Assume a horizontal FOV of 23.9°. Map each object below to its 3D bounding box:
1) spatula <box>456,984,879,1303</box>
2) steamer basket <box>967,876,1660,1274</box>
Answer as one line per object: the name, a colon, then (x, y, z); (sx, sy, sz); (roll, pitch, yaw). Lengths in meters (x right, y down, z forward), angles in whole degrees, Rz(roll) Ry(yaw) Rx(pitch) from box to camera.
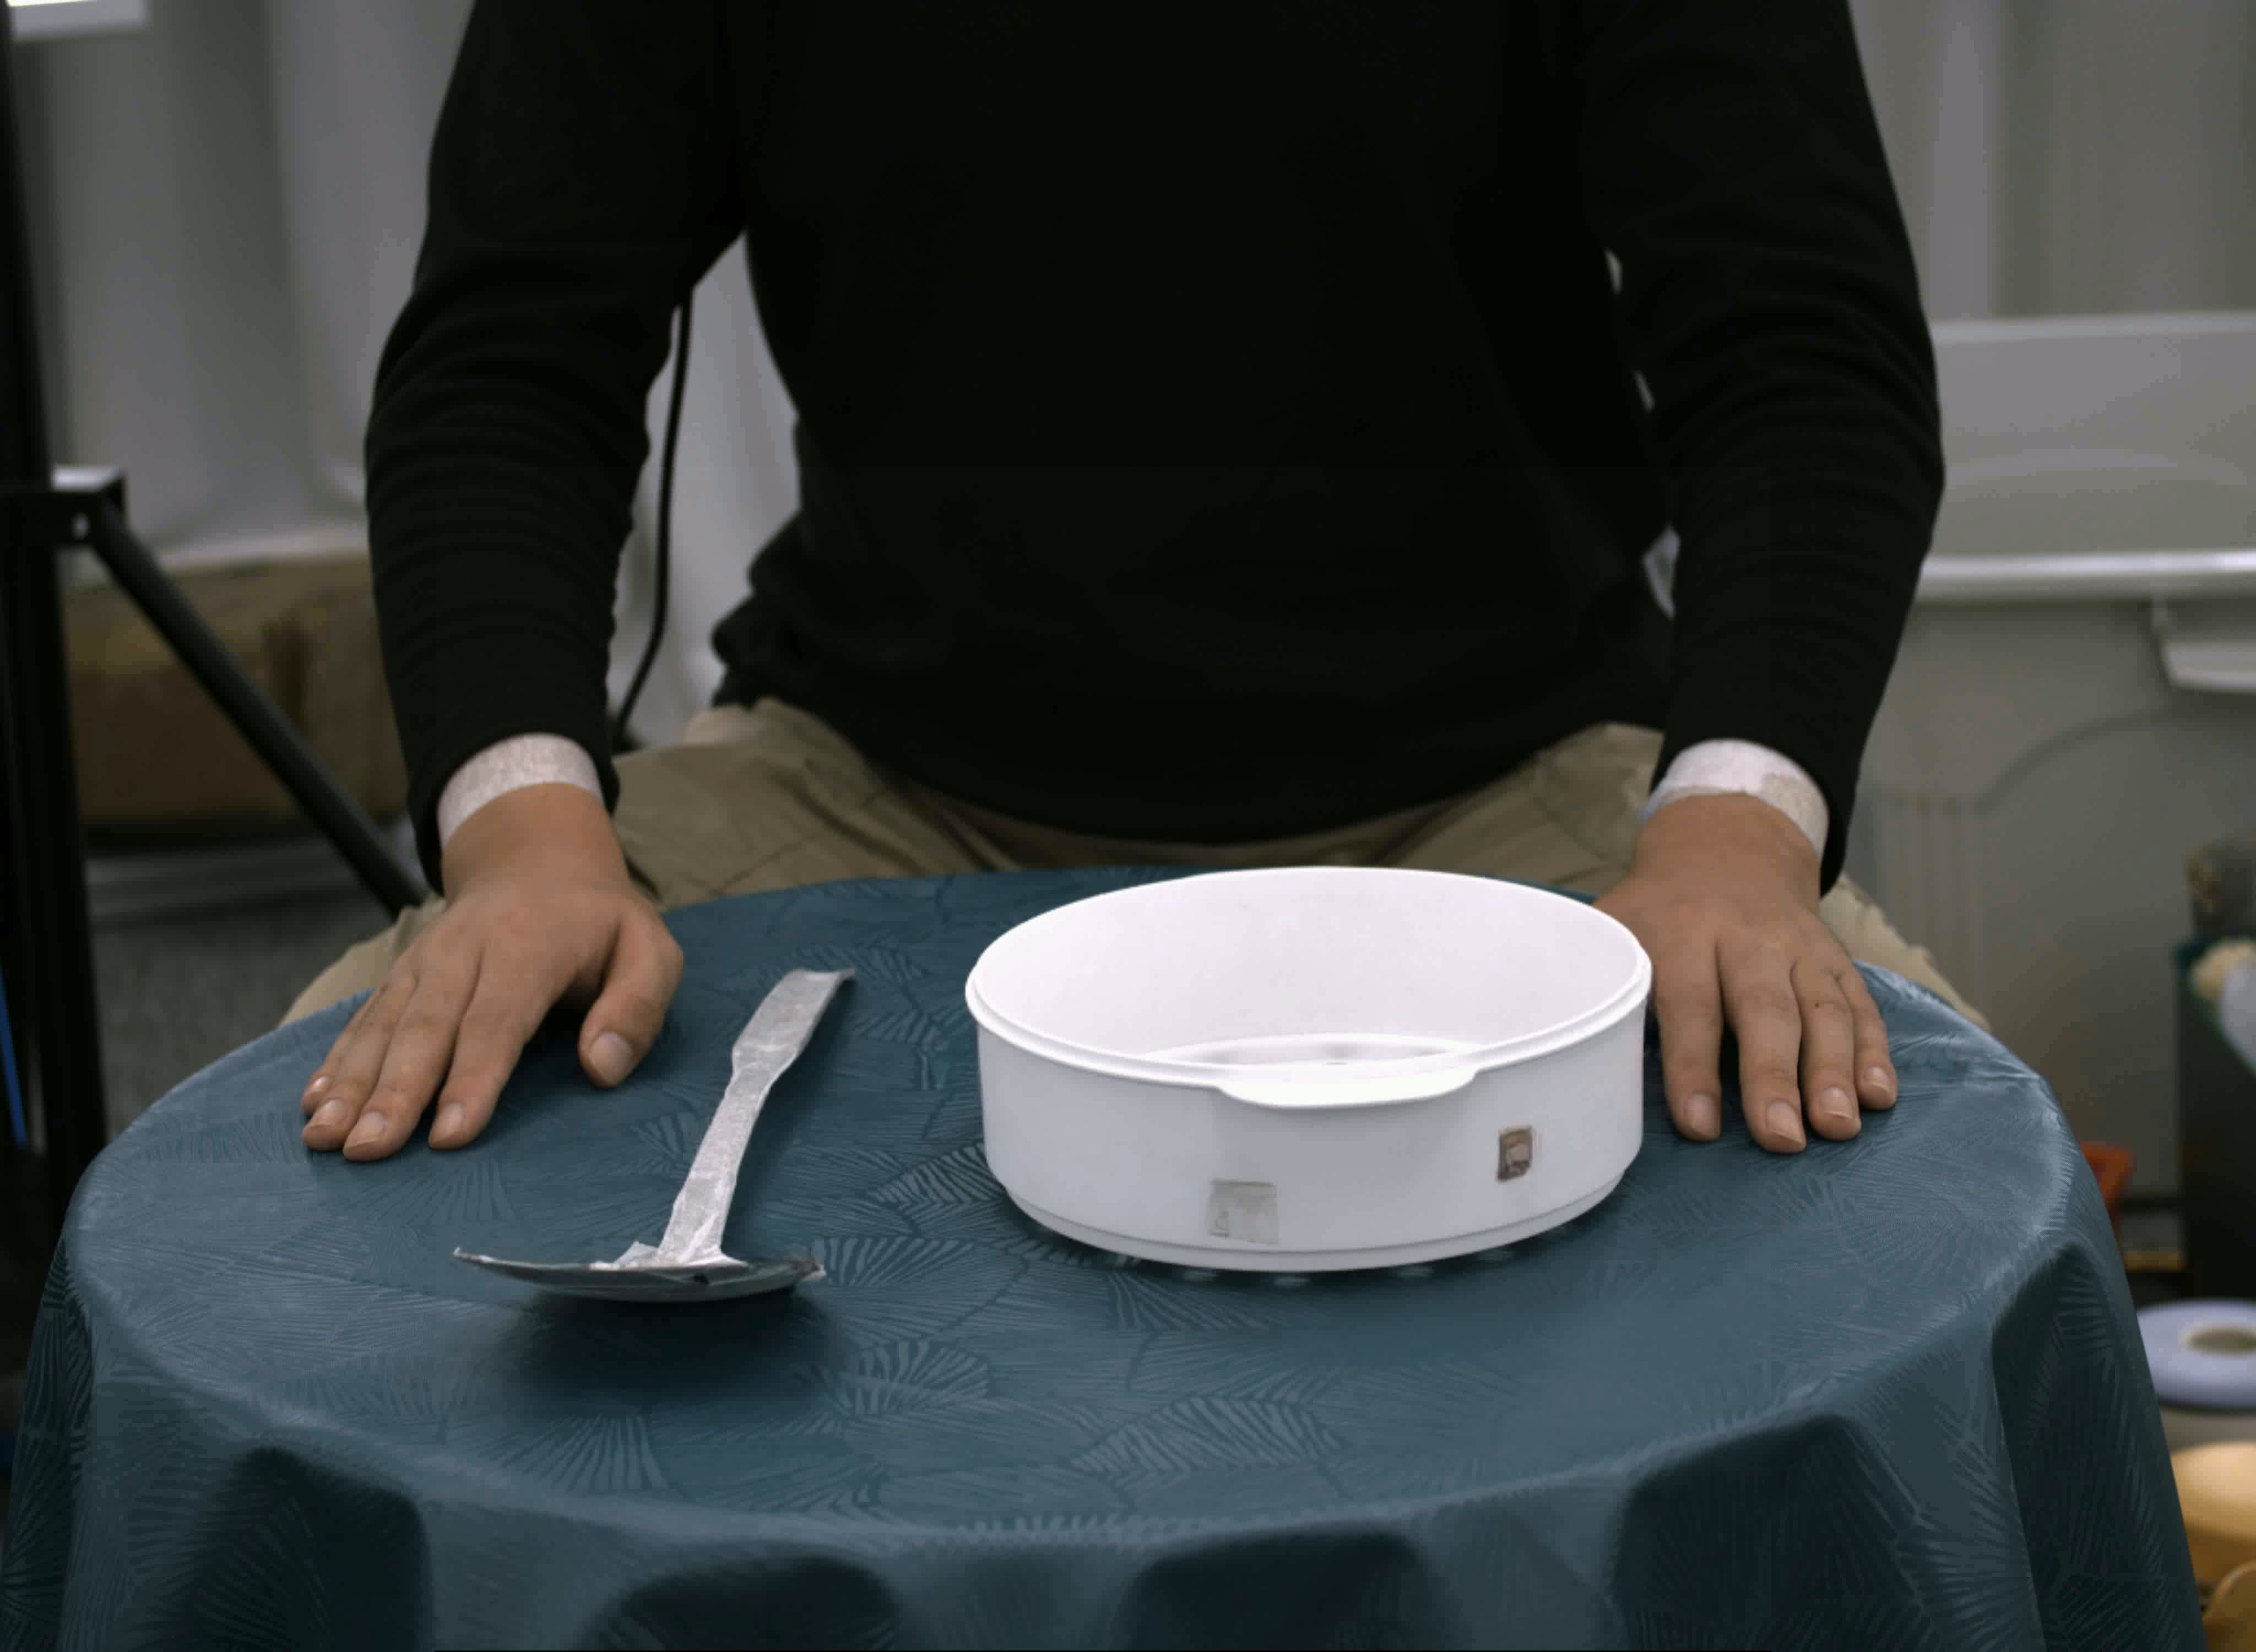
spatula: (-0.114, 0.085, 1.587); (0.099, 0.045, 0.364); (-3, 16, 7)
steamer basket: (0.054, 0.072, 1.548); (0.200, 0.069, 0.232); (-2, 15, -3)
